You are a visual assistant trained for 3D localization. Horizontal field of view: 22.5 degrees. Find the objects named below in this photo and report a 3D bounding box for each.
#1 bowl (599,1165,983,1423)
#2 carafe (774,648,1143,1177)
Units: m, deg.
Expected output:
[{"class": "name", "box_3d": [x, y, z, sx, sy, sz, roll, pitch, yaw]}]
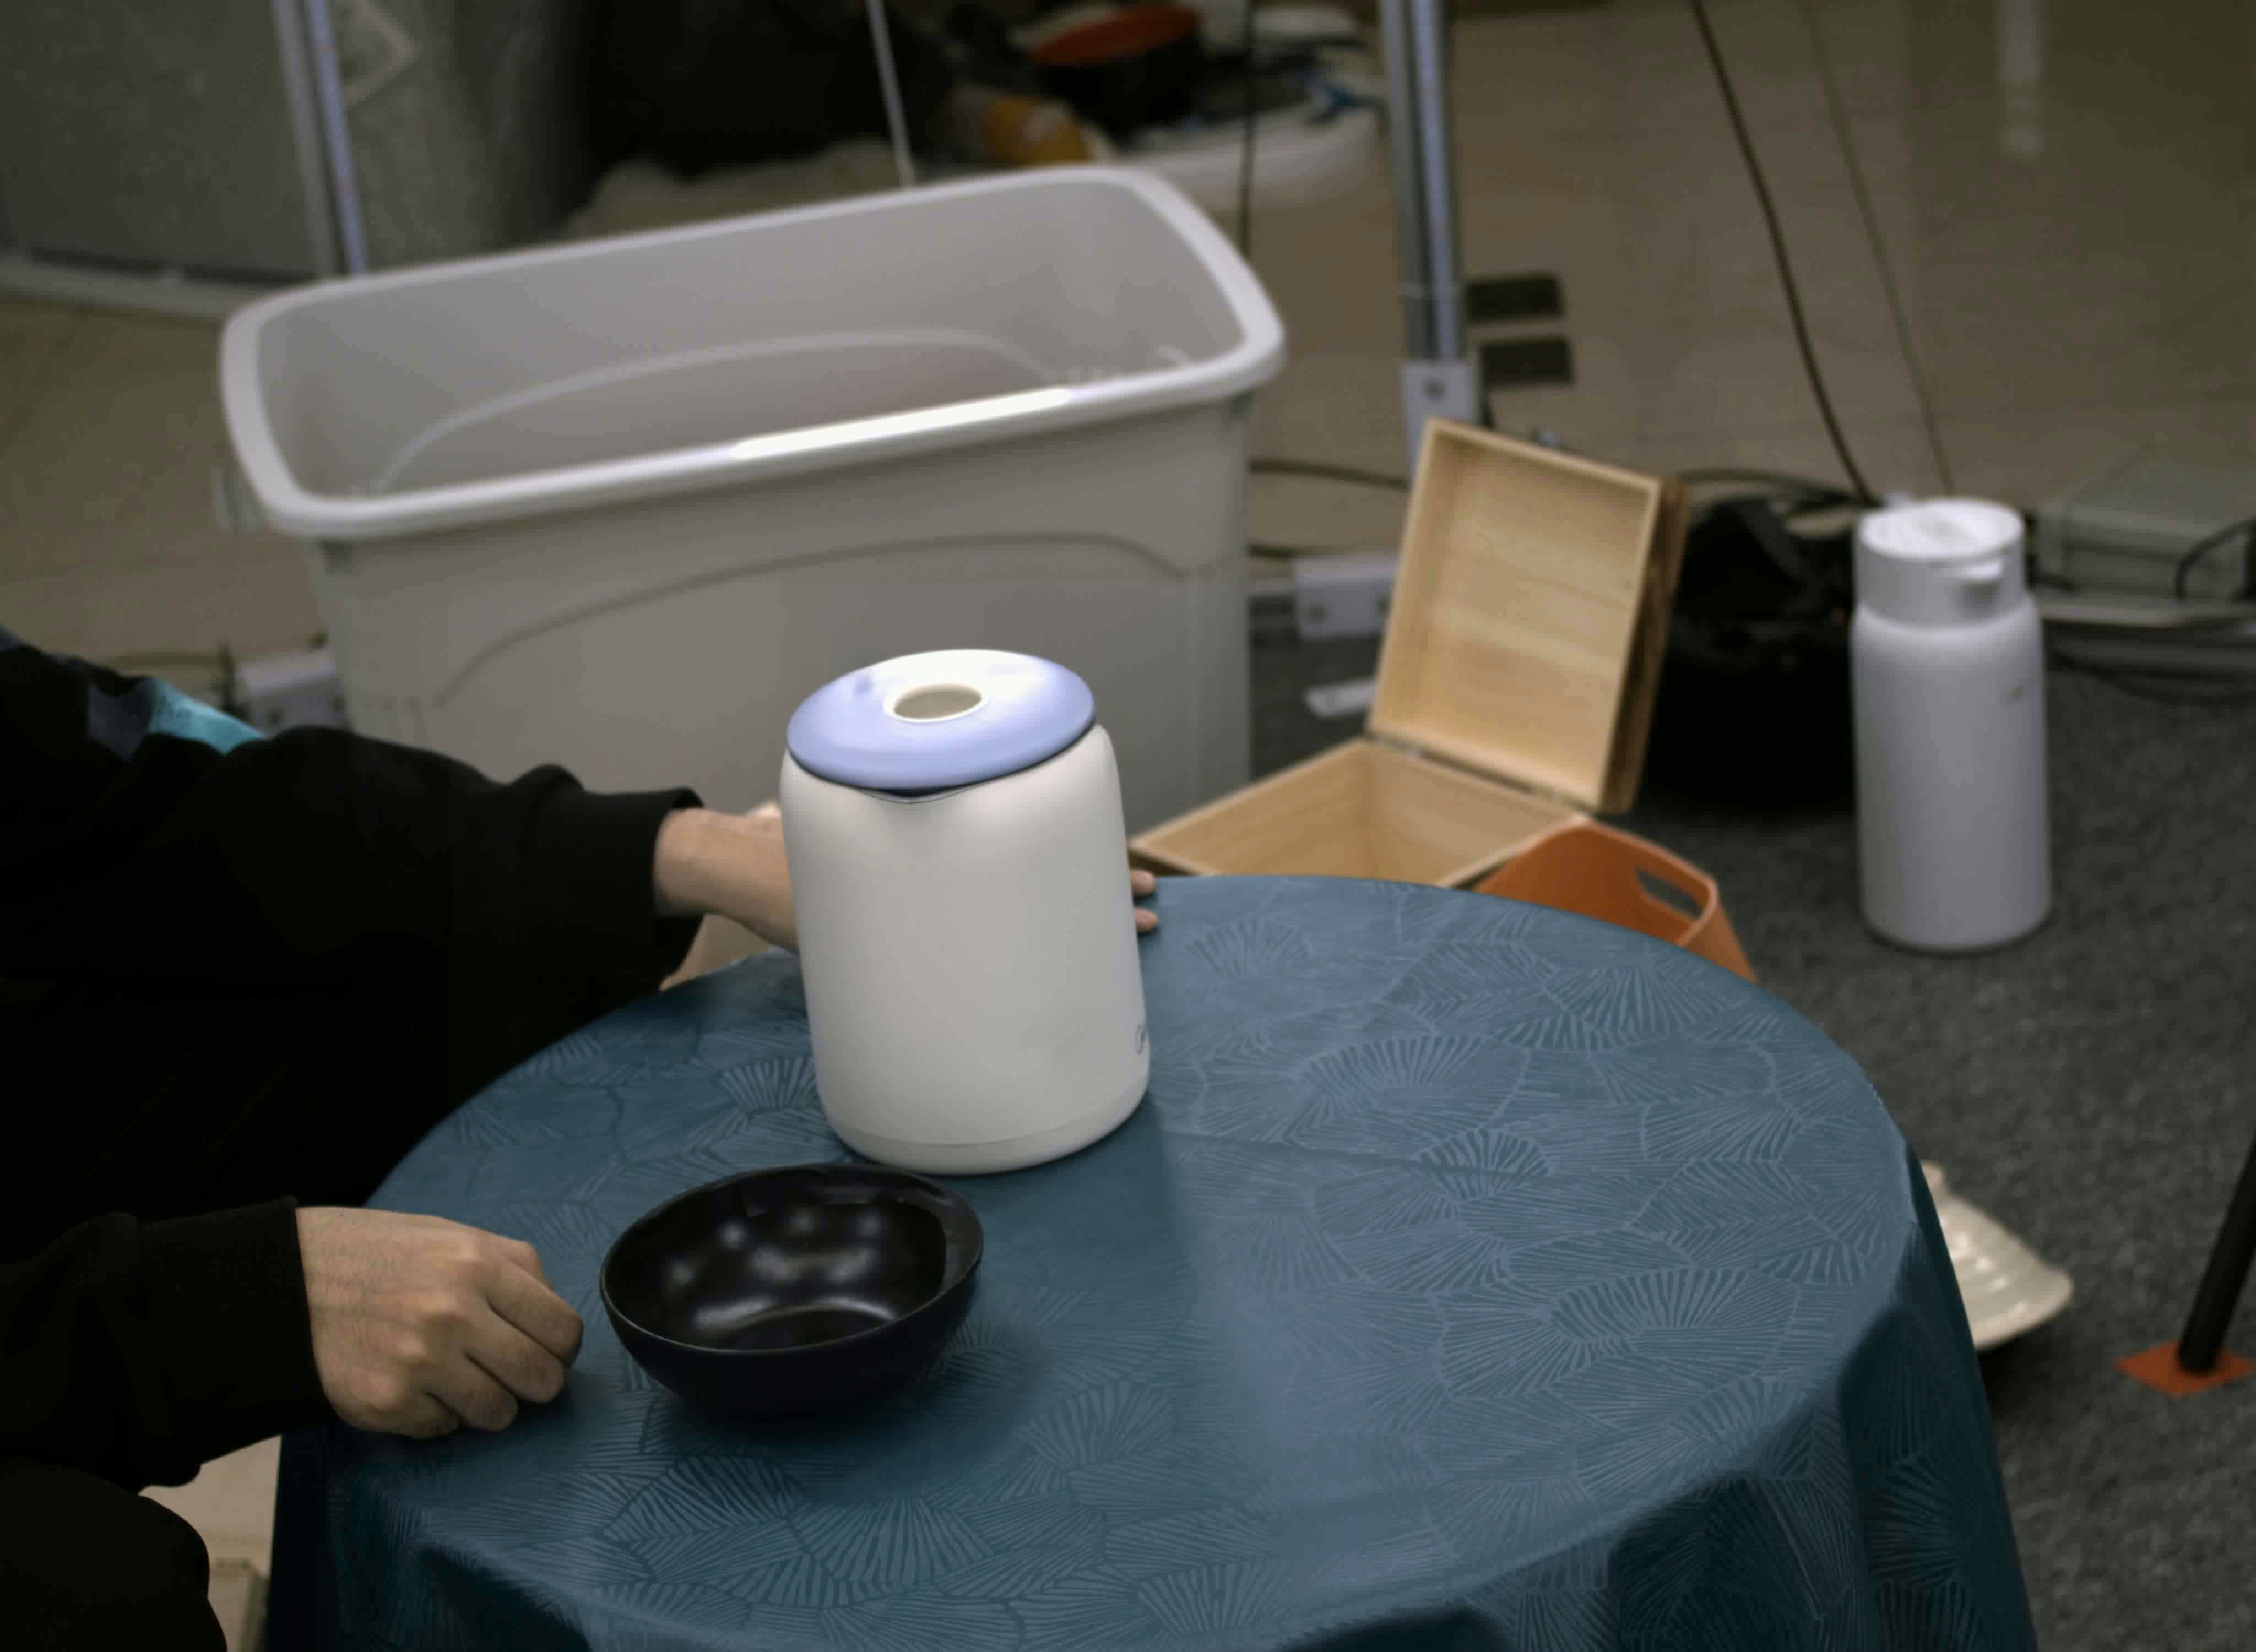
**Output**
[{"class": "bowl", "box_3d": [-0.118, 0.175, 2.038, 0.140, 0.050, 0.138, -7, 24, 3]}, {"class": "carafe", "box_3d": [-0.063, 0.023, 2.204, 0.132, 0.185, 0.188, -2, 24, 7]}]
